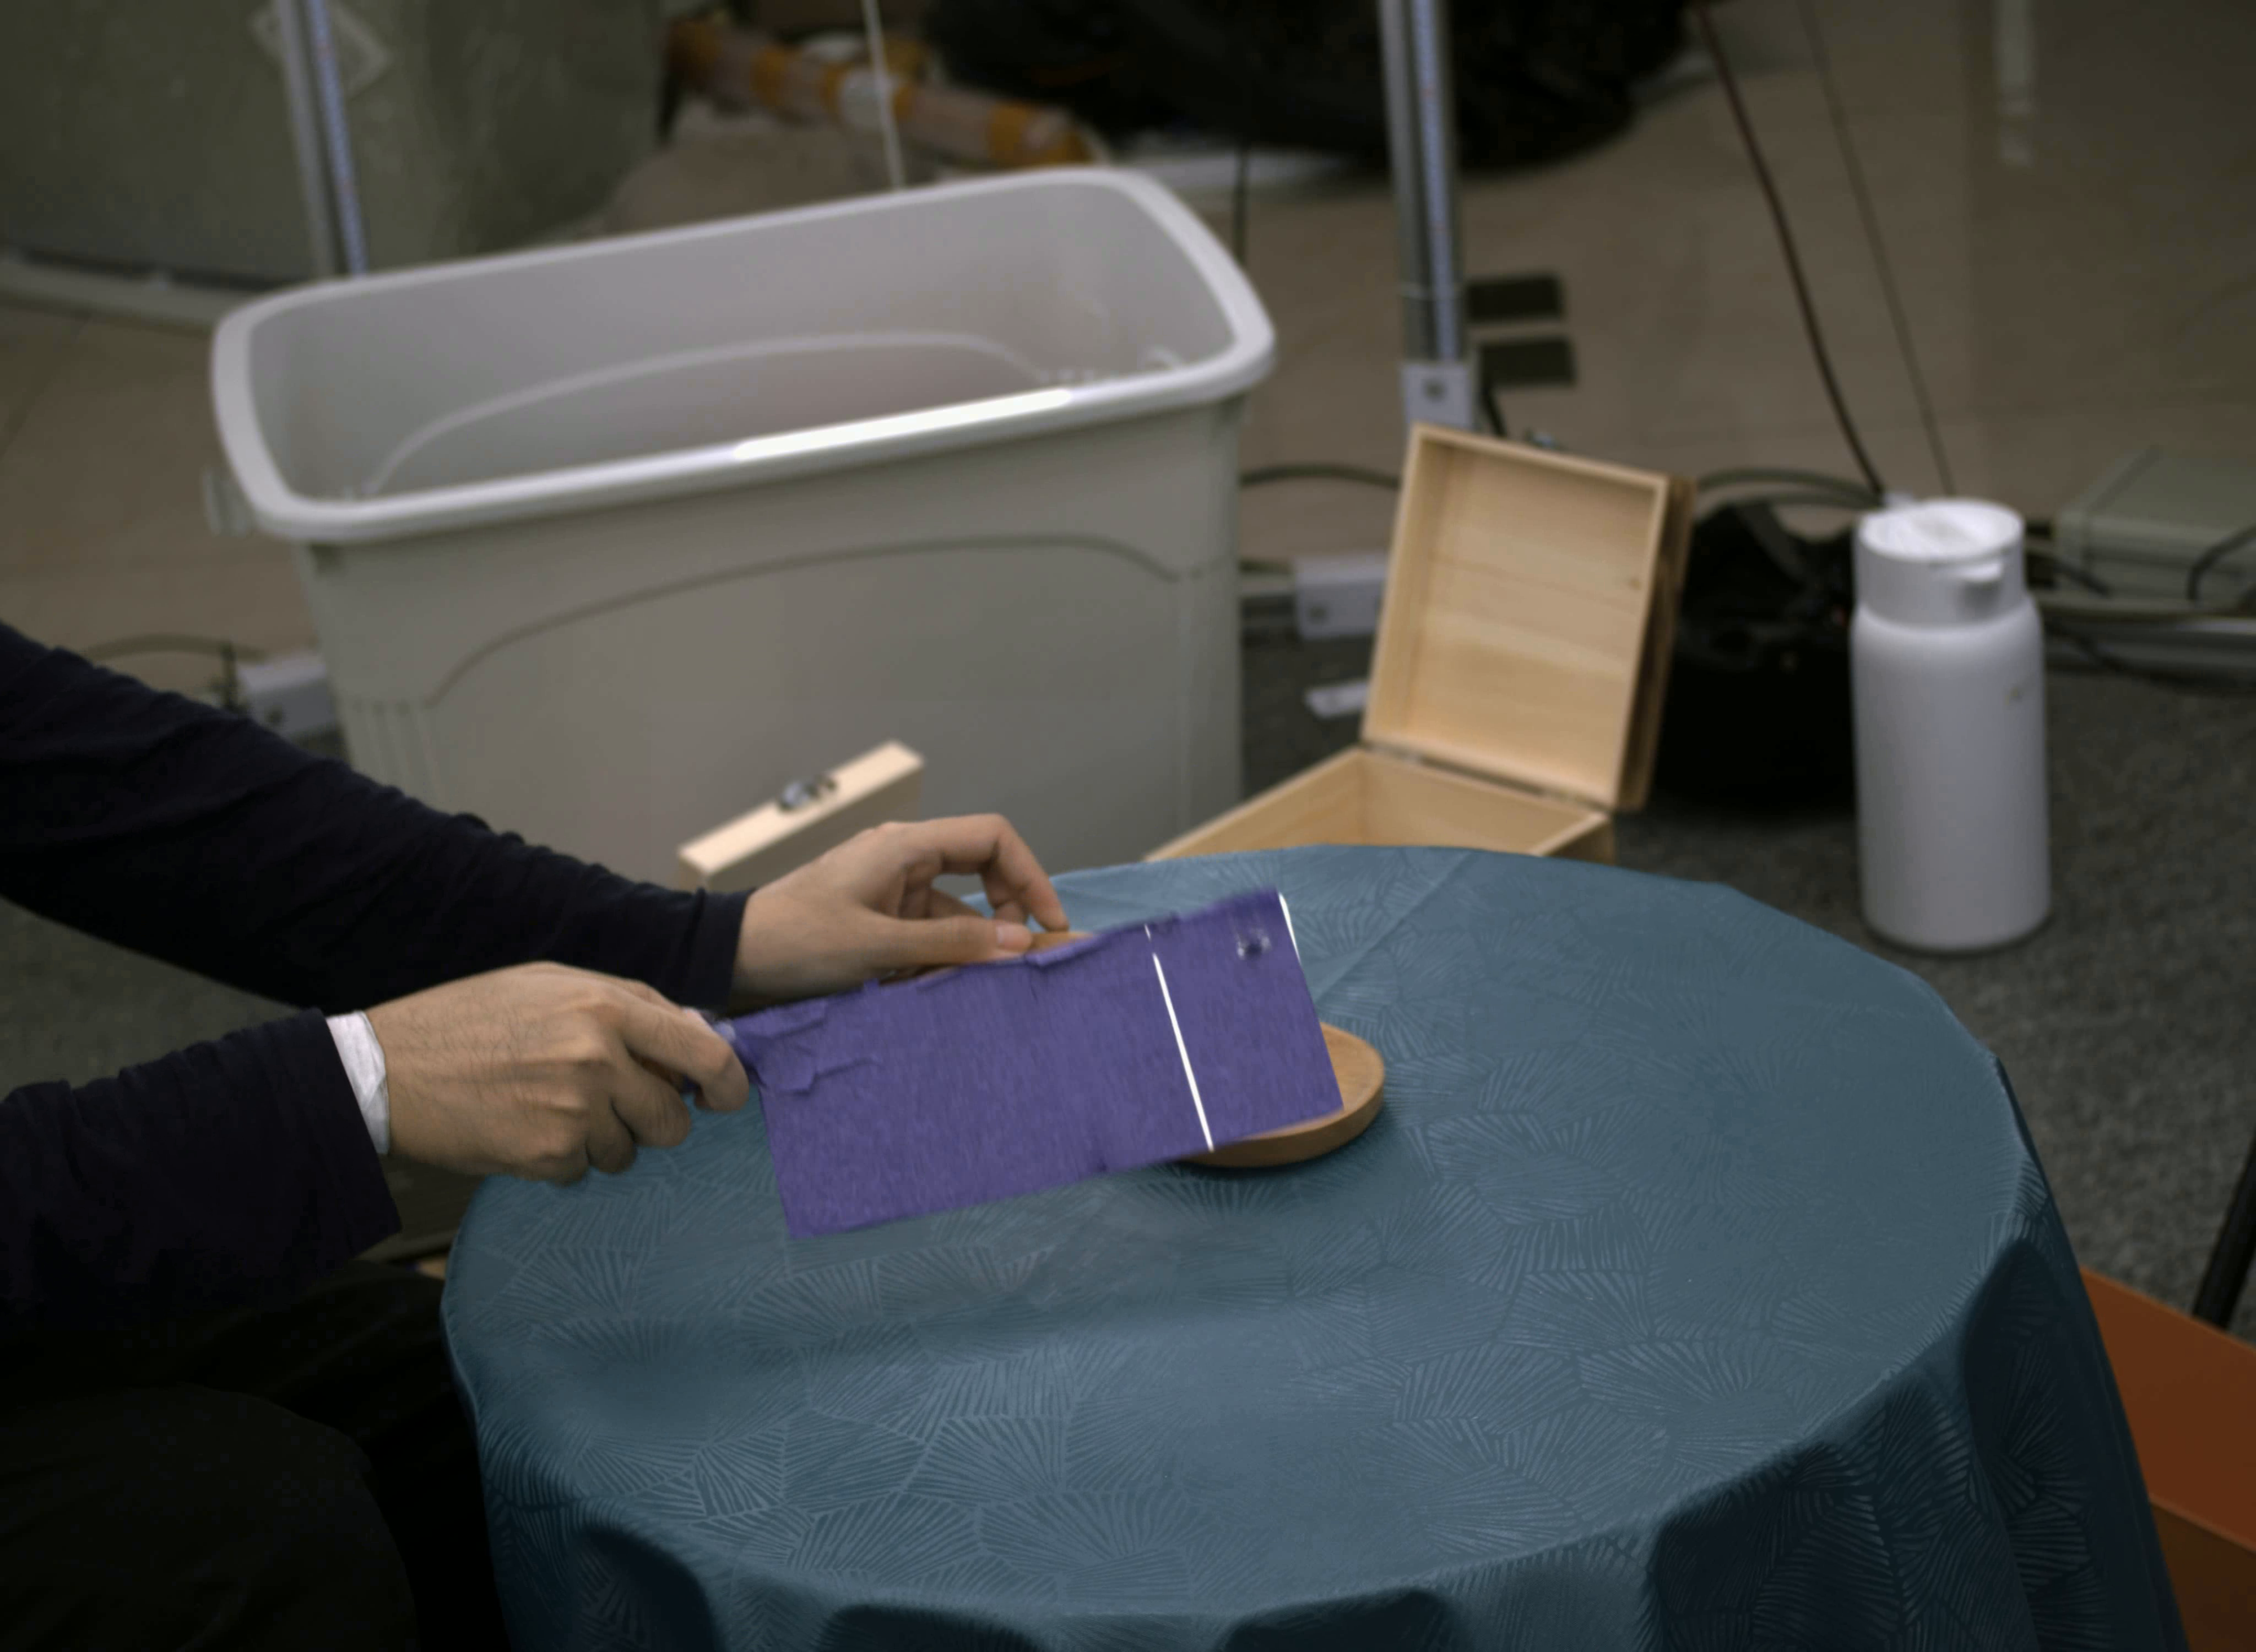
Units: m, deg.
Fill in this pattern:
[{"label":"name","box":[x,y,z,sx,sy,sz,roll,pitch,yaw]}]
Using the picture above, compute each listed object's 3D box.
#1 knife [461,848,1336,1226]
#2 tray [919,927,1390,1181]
[{"label":"knife","box":[-0.083,0.092,2.072,0.315,0.032,0.103,-15,70,-1]},{"label":"tray","box":[0.007,0.089,2.238,0.101,0.020,0.229,-27,36,-34]}]
